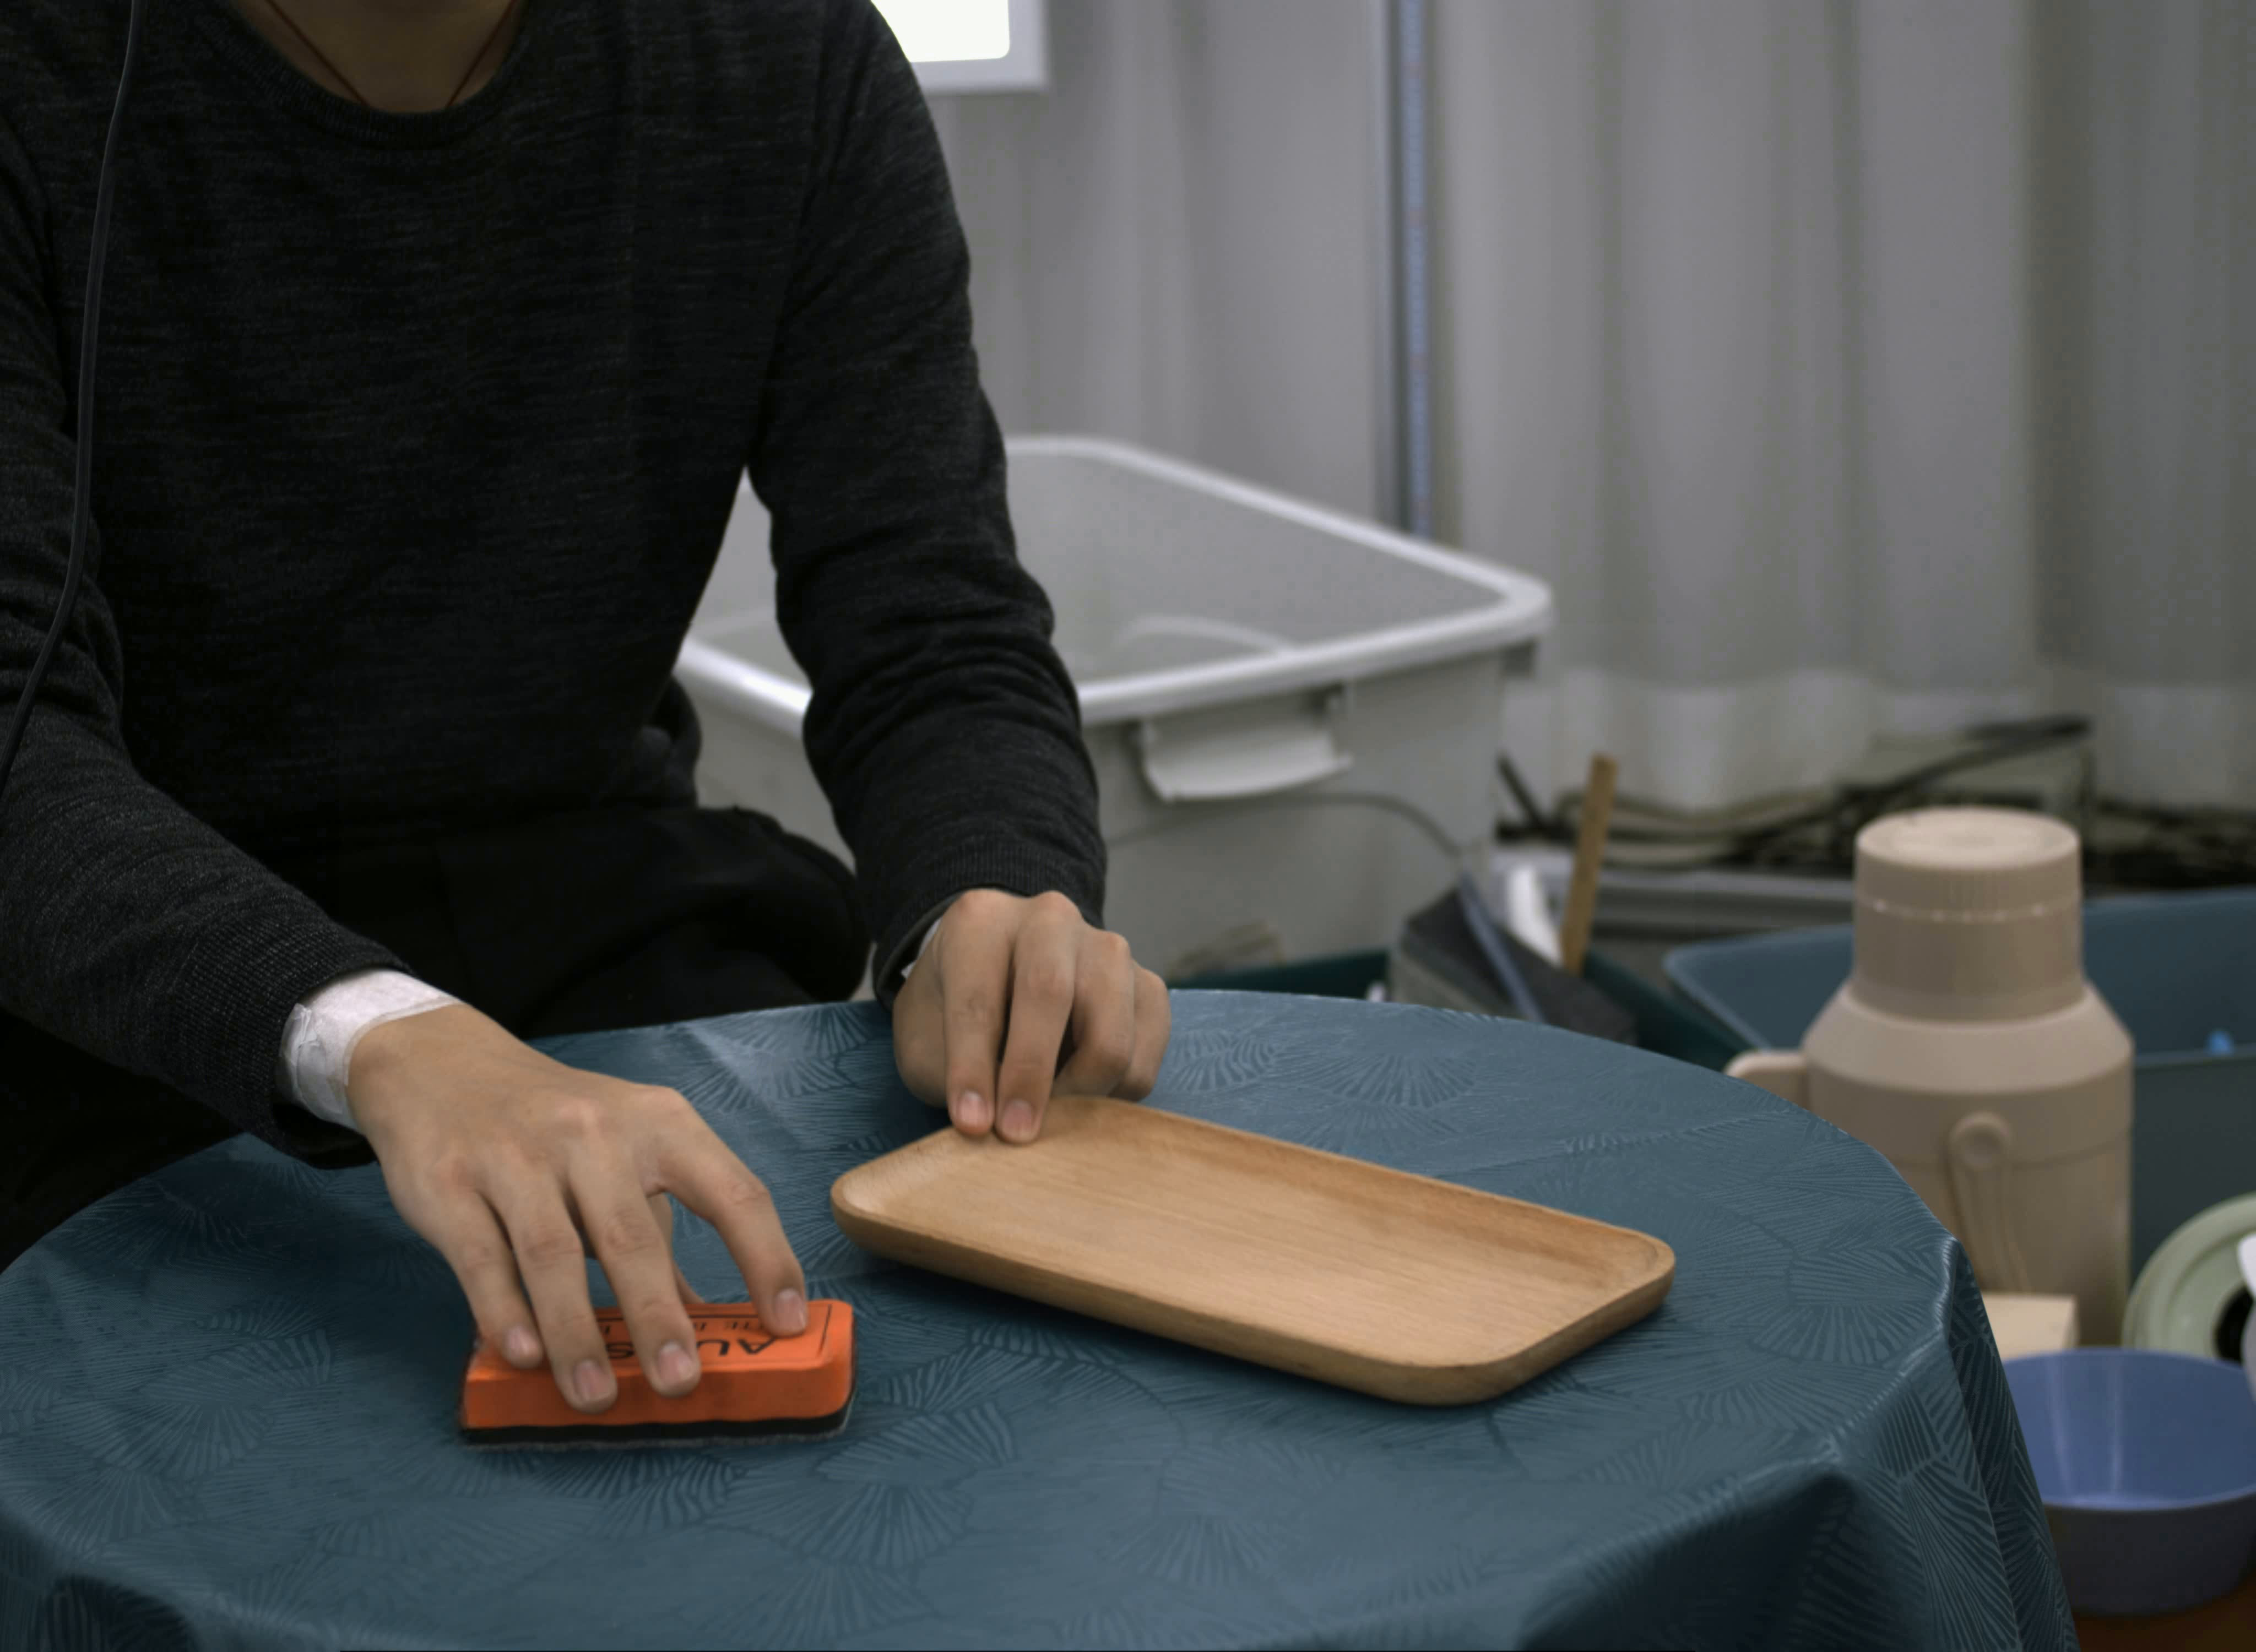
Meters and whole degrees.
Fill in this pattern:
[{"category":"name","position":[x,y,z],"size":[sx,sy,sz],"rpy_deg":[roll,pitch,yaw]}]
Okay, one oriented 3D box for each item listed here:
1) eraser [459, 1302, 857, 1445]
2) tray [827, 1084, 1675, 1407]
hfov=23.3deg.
[{"category":"eraser","position":[-0.132,0.154,1.544],"size":[0.108,0.023,0.059],"rpy_deg":[-2,13,4]},{"category":"tray","position":[0.034,0.122,1.622],"size":[0.252,0.023,0.130],"rpy_deg":[12,19,39]}]
